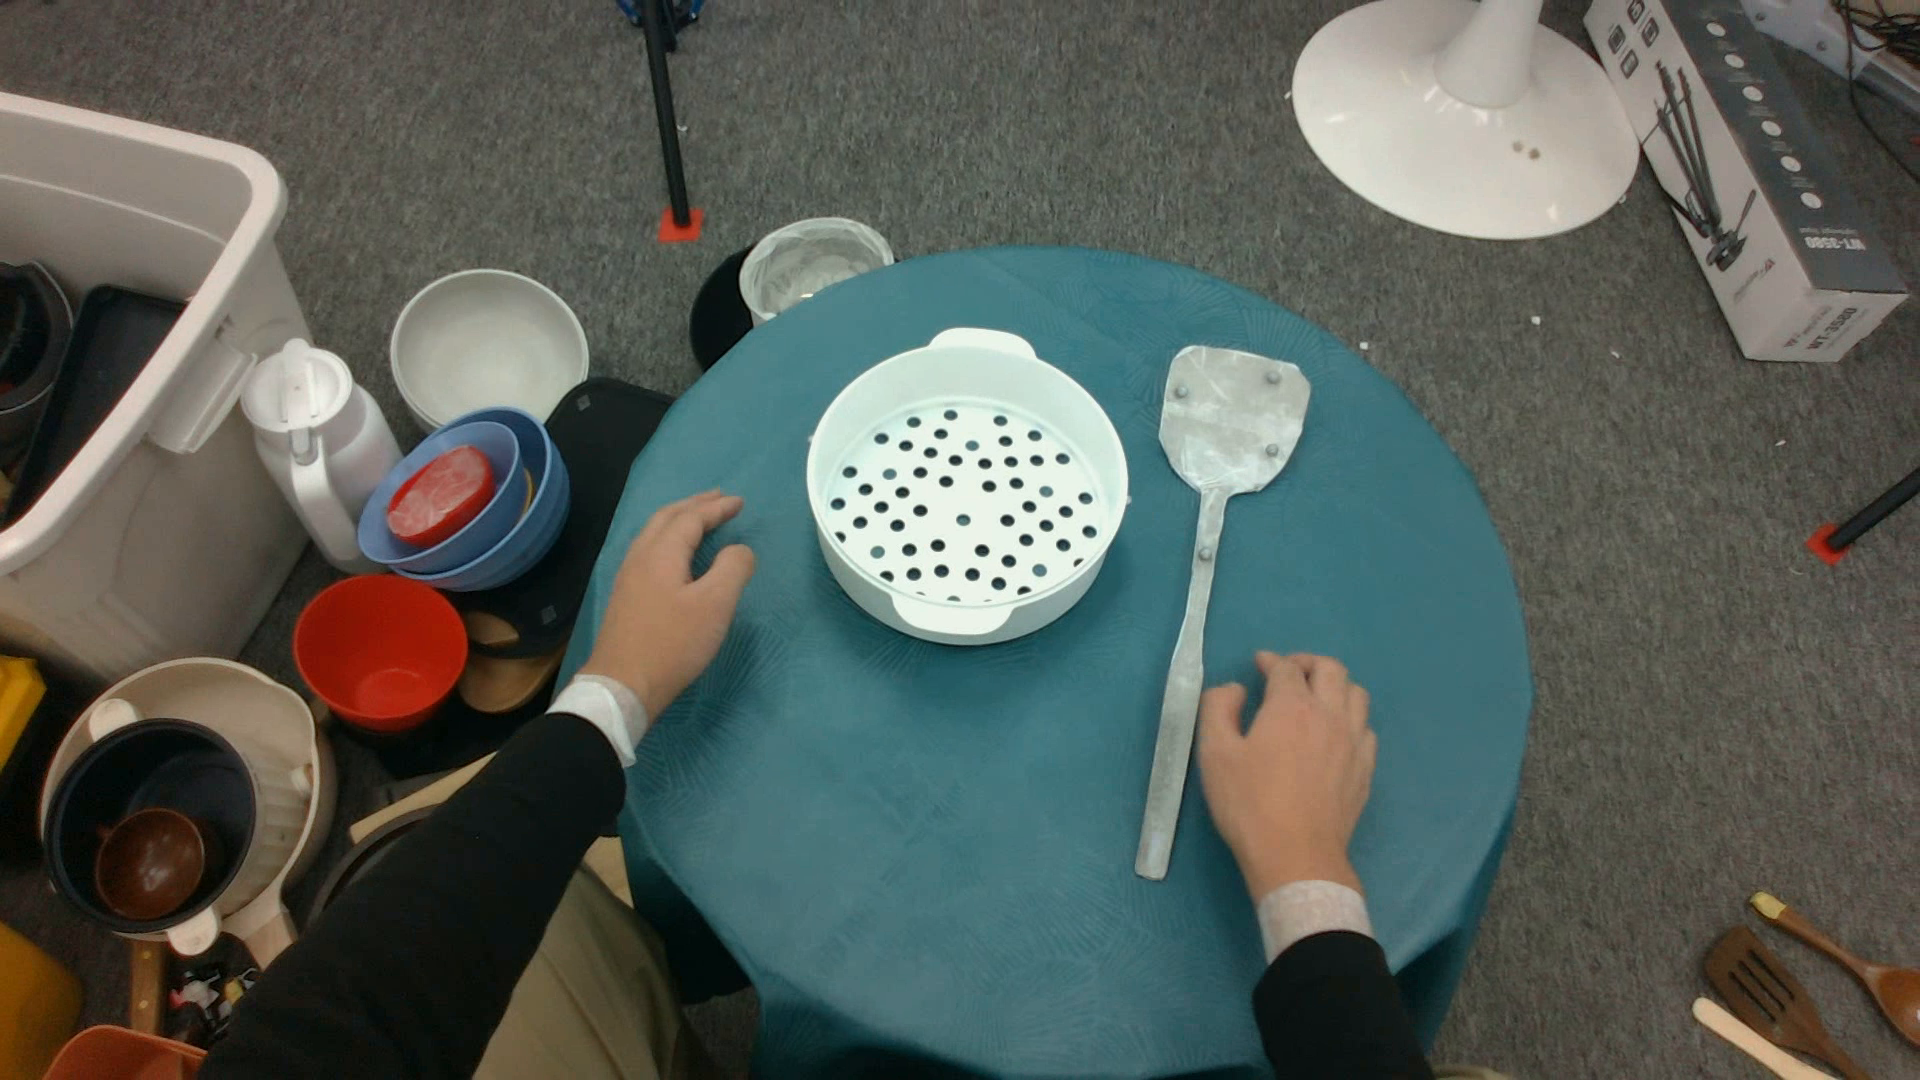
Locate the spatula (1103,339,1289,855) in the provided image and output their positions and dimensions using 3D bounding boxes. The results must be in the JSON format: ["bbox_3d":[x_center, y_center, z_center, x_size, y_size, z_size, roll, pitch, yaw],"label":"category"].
[{"bbox_3d":[0.139,0.025,0.876,0.098,0.044,0.366,15,58,2],"label":"spatula"}]

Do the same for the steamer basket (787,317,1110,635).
[{"bbox_3d":[-0.008,-0.036,0.883,0.202,0.069,0.231,7,59,1],"label":"steamer basket"}]
